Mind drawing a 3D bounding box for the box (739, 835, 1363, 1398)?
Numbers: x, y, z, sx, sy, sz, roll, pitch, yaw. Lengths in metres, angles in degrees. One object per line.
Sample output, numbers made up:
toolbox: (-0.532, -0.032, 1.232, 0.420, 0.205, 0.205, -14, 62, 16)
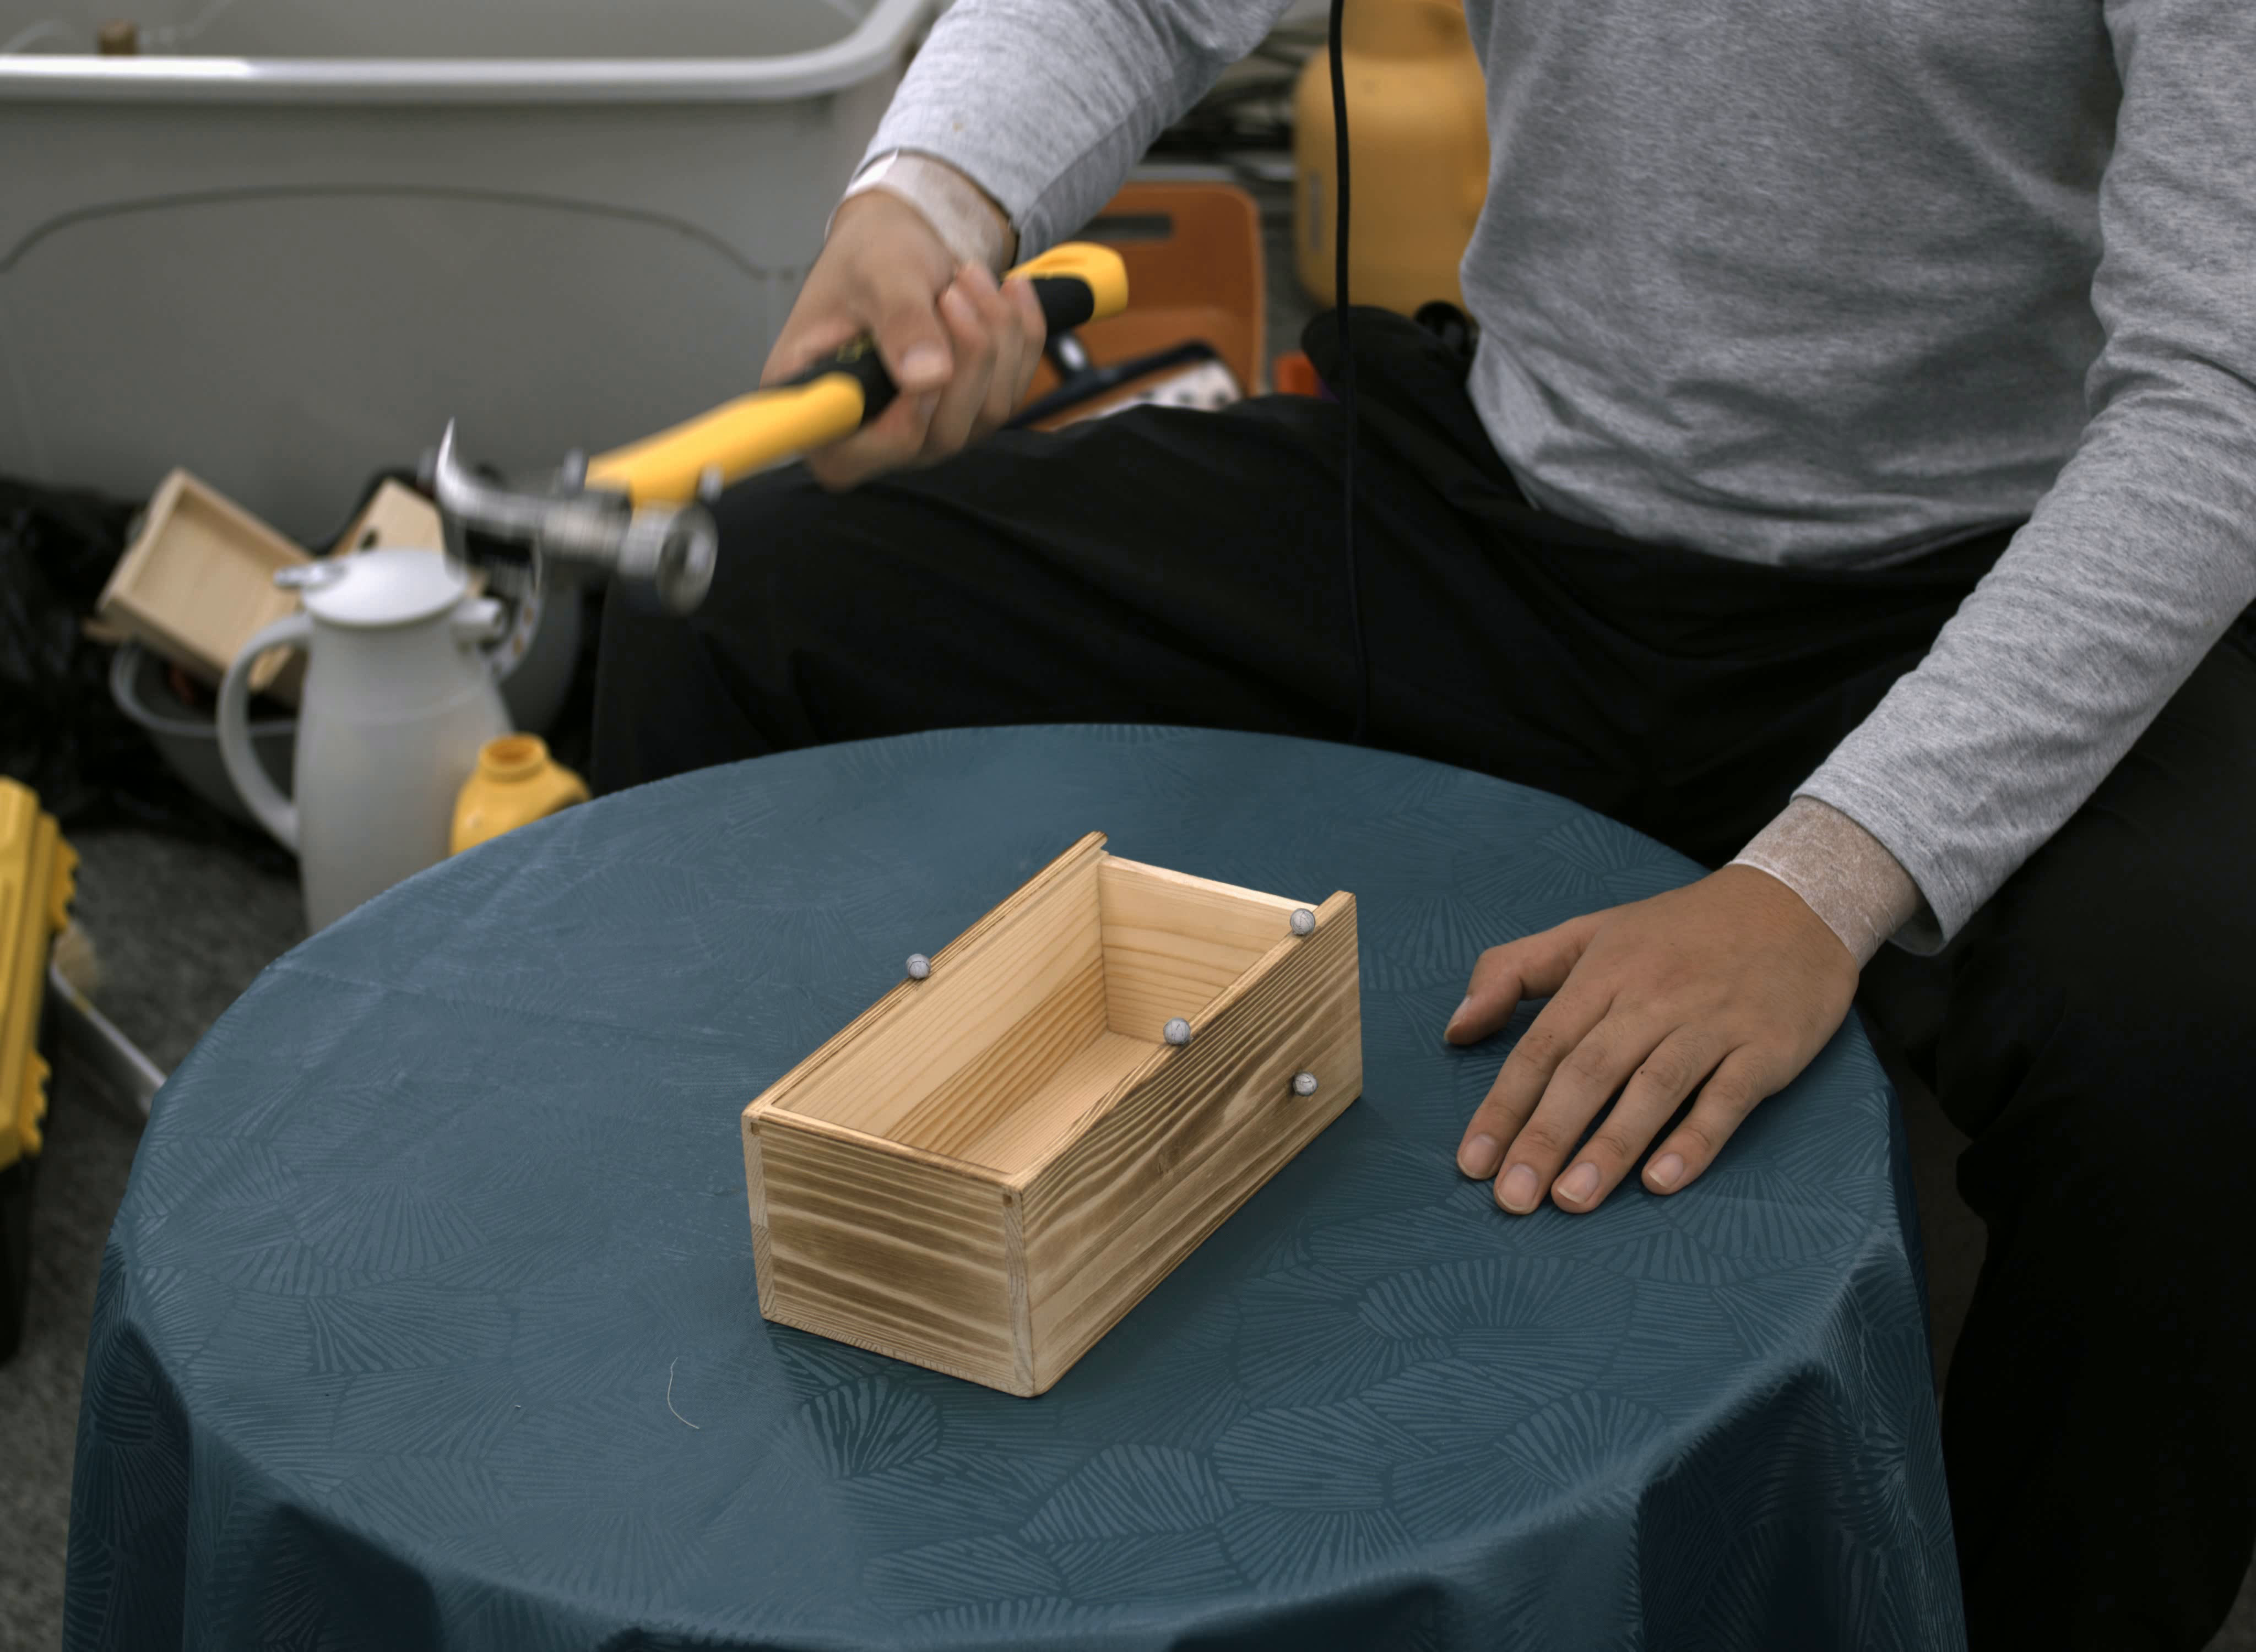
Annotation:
box: (-0.022, 0.091, 1.841, 0.107, 0.079, 0.215, 12, 31, 29)

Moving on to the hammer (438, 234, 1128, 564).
hammer: (-0.105, -0.152, 1.910, 0.130, 0.032, 0.343, 8, 22, 32)
